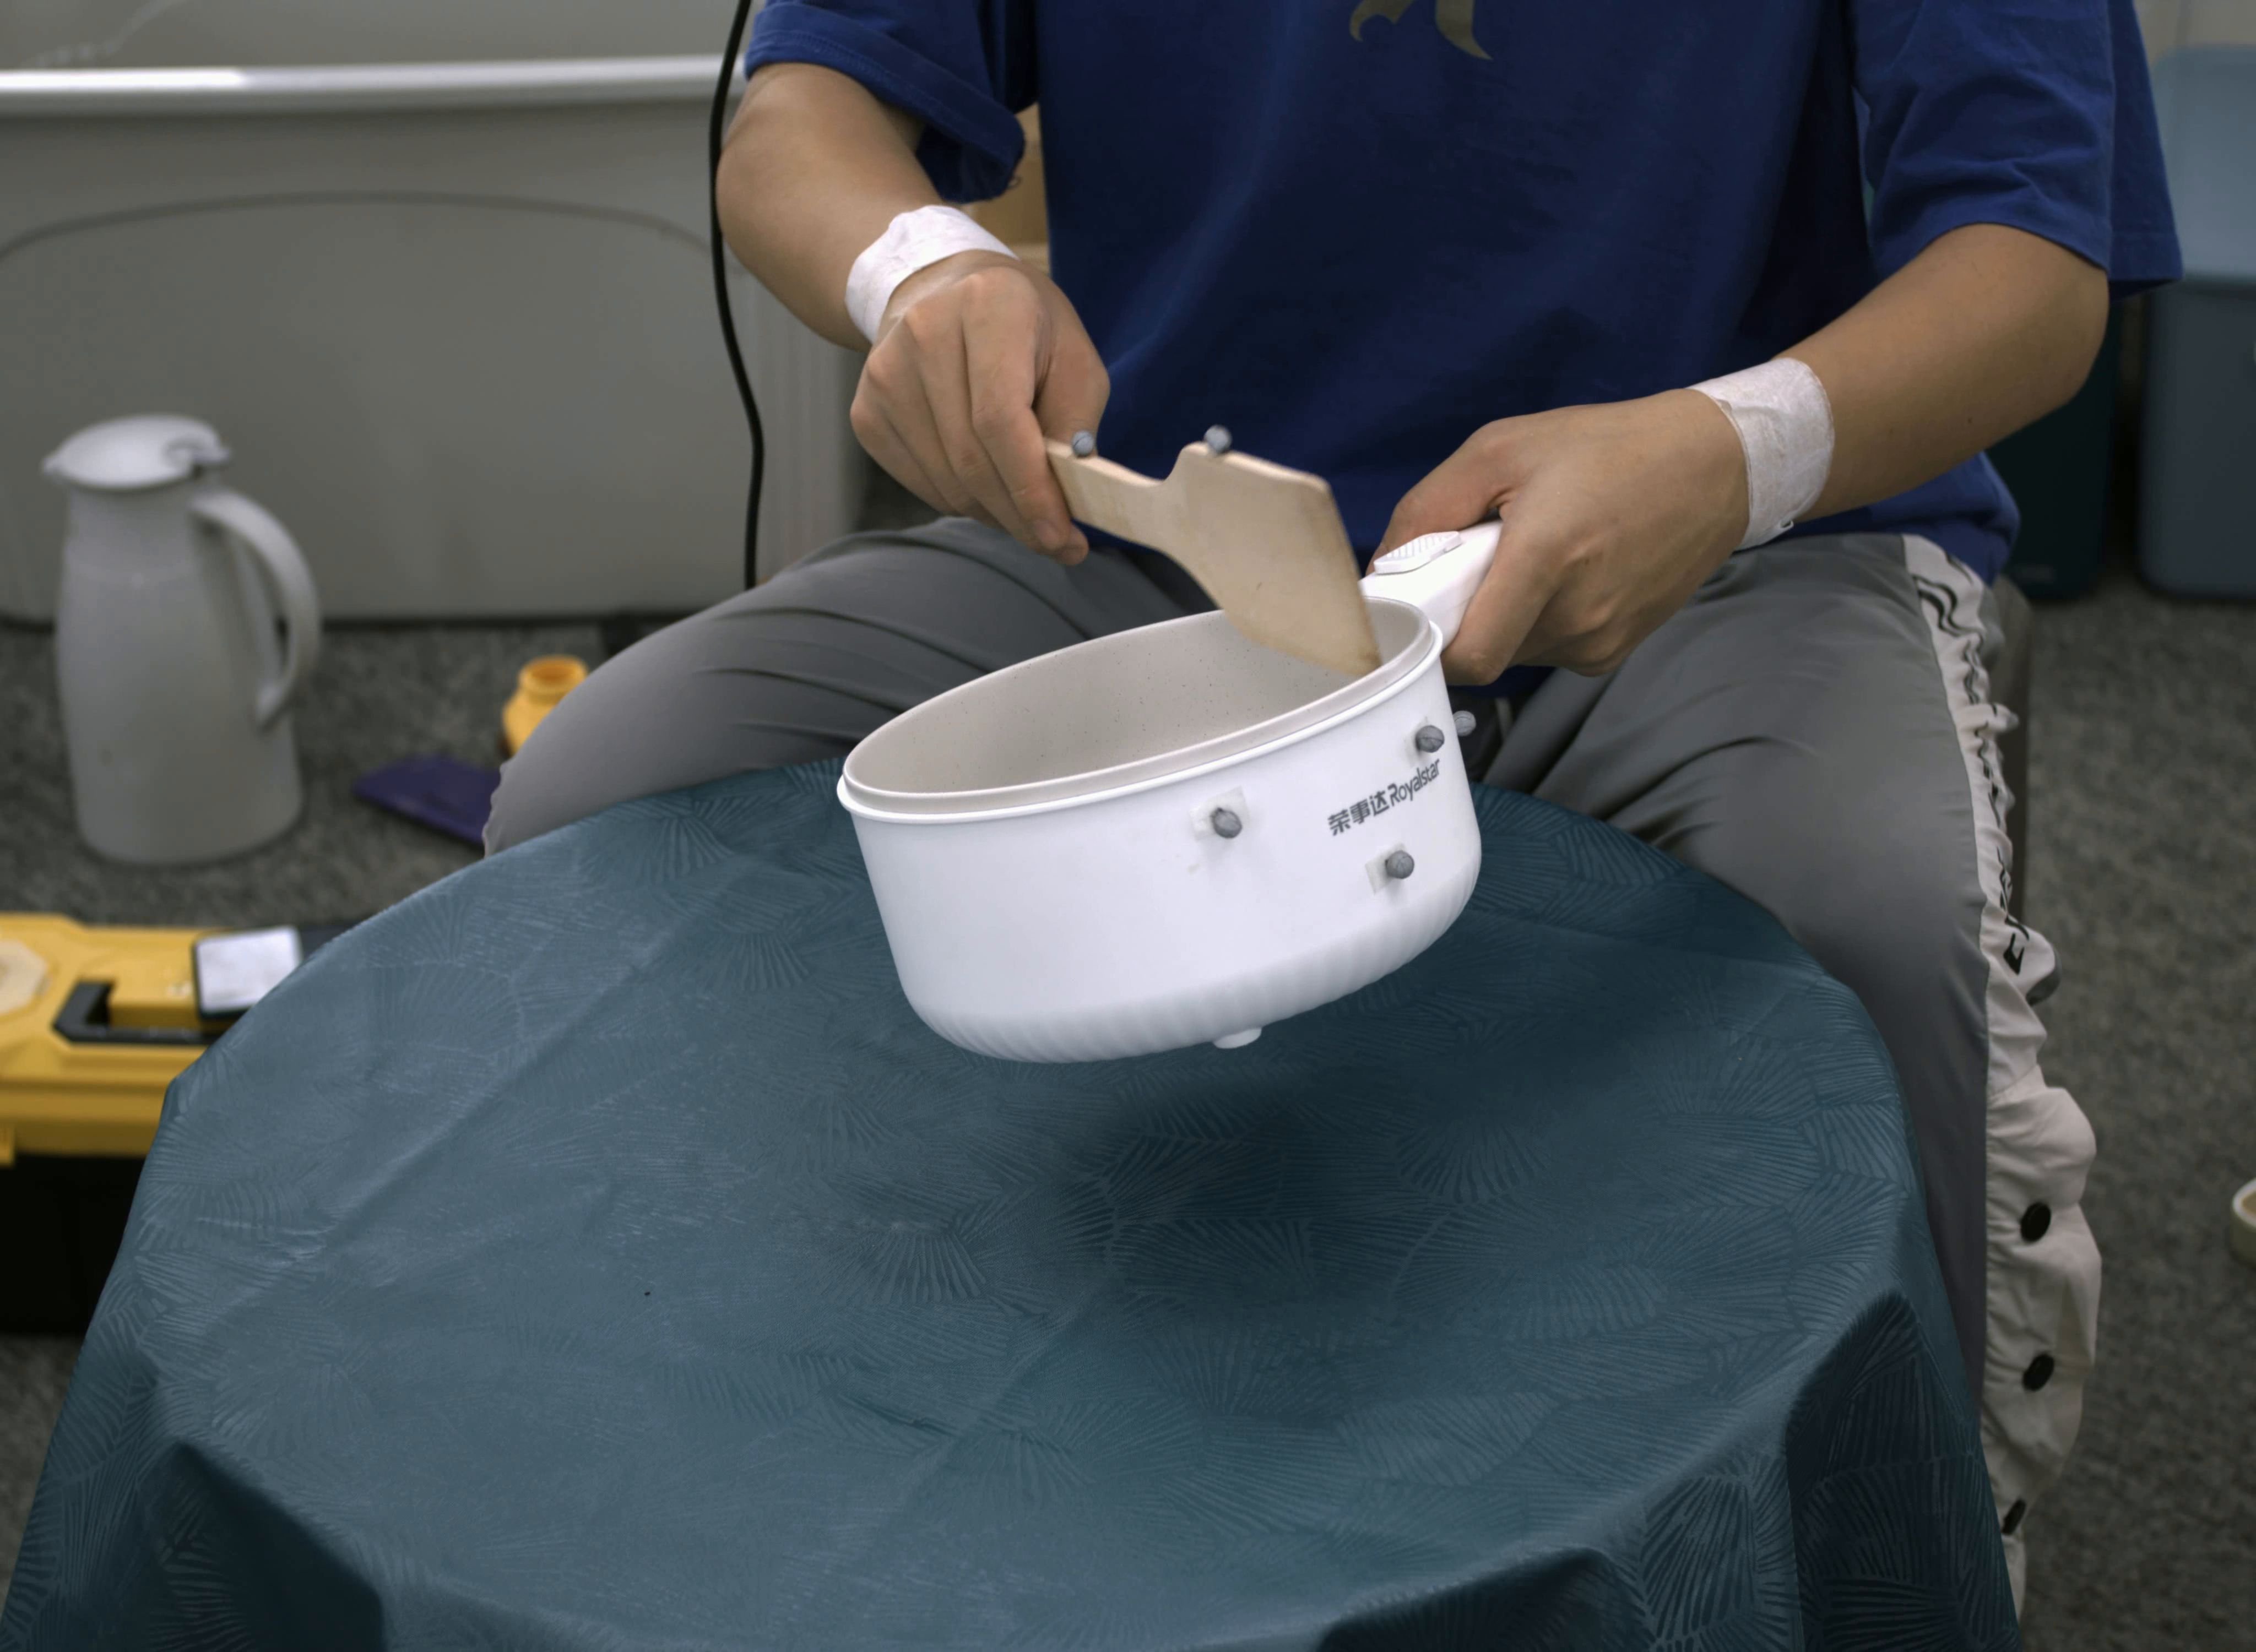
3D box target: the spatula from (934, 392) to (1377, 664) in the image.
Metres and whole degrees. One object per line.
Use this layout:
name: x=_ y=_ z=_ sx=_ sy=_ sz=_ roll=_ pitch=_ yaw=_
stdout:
spatula: x=0.000 y=-0.112 z=1.879 sx=0.011 sy=0.072 sz=0.293 roll=-27 pitch=24 yaw=-19

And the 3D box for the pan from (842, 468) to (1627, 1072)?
pan: x=0.061 y=-0.020 z=1.874 sx=0.199 sy=0.102 sz=0.359 roll=-7 pitch=16 yaw=41
